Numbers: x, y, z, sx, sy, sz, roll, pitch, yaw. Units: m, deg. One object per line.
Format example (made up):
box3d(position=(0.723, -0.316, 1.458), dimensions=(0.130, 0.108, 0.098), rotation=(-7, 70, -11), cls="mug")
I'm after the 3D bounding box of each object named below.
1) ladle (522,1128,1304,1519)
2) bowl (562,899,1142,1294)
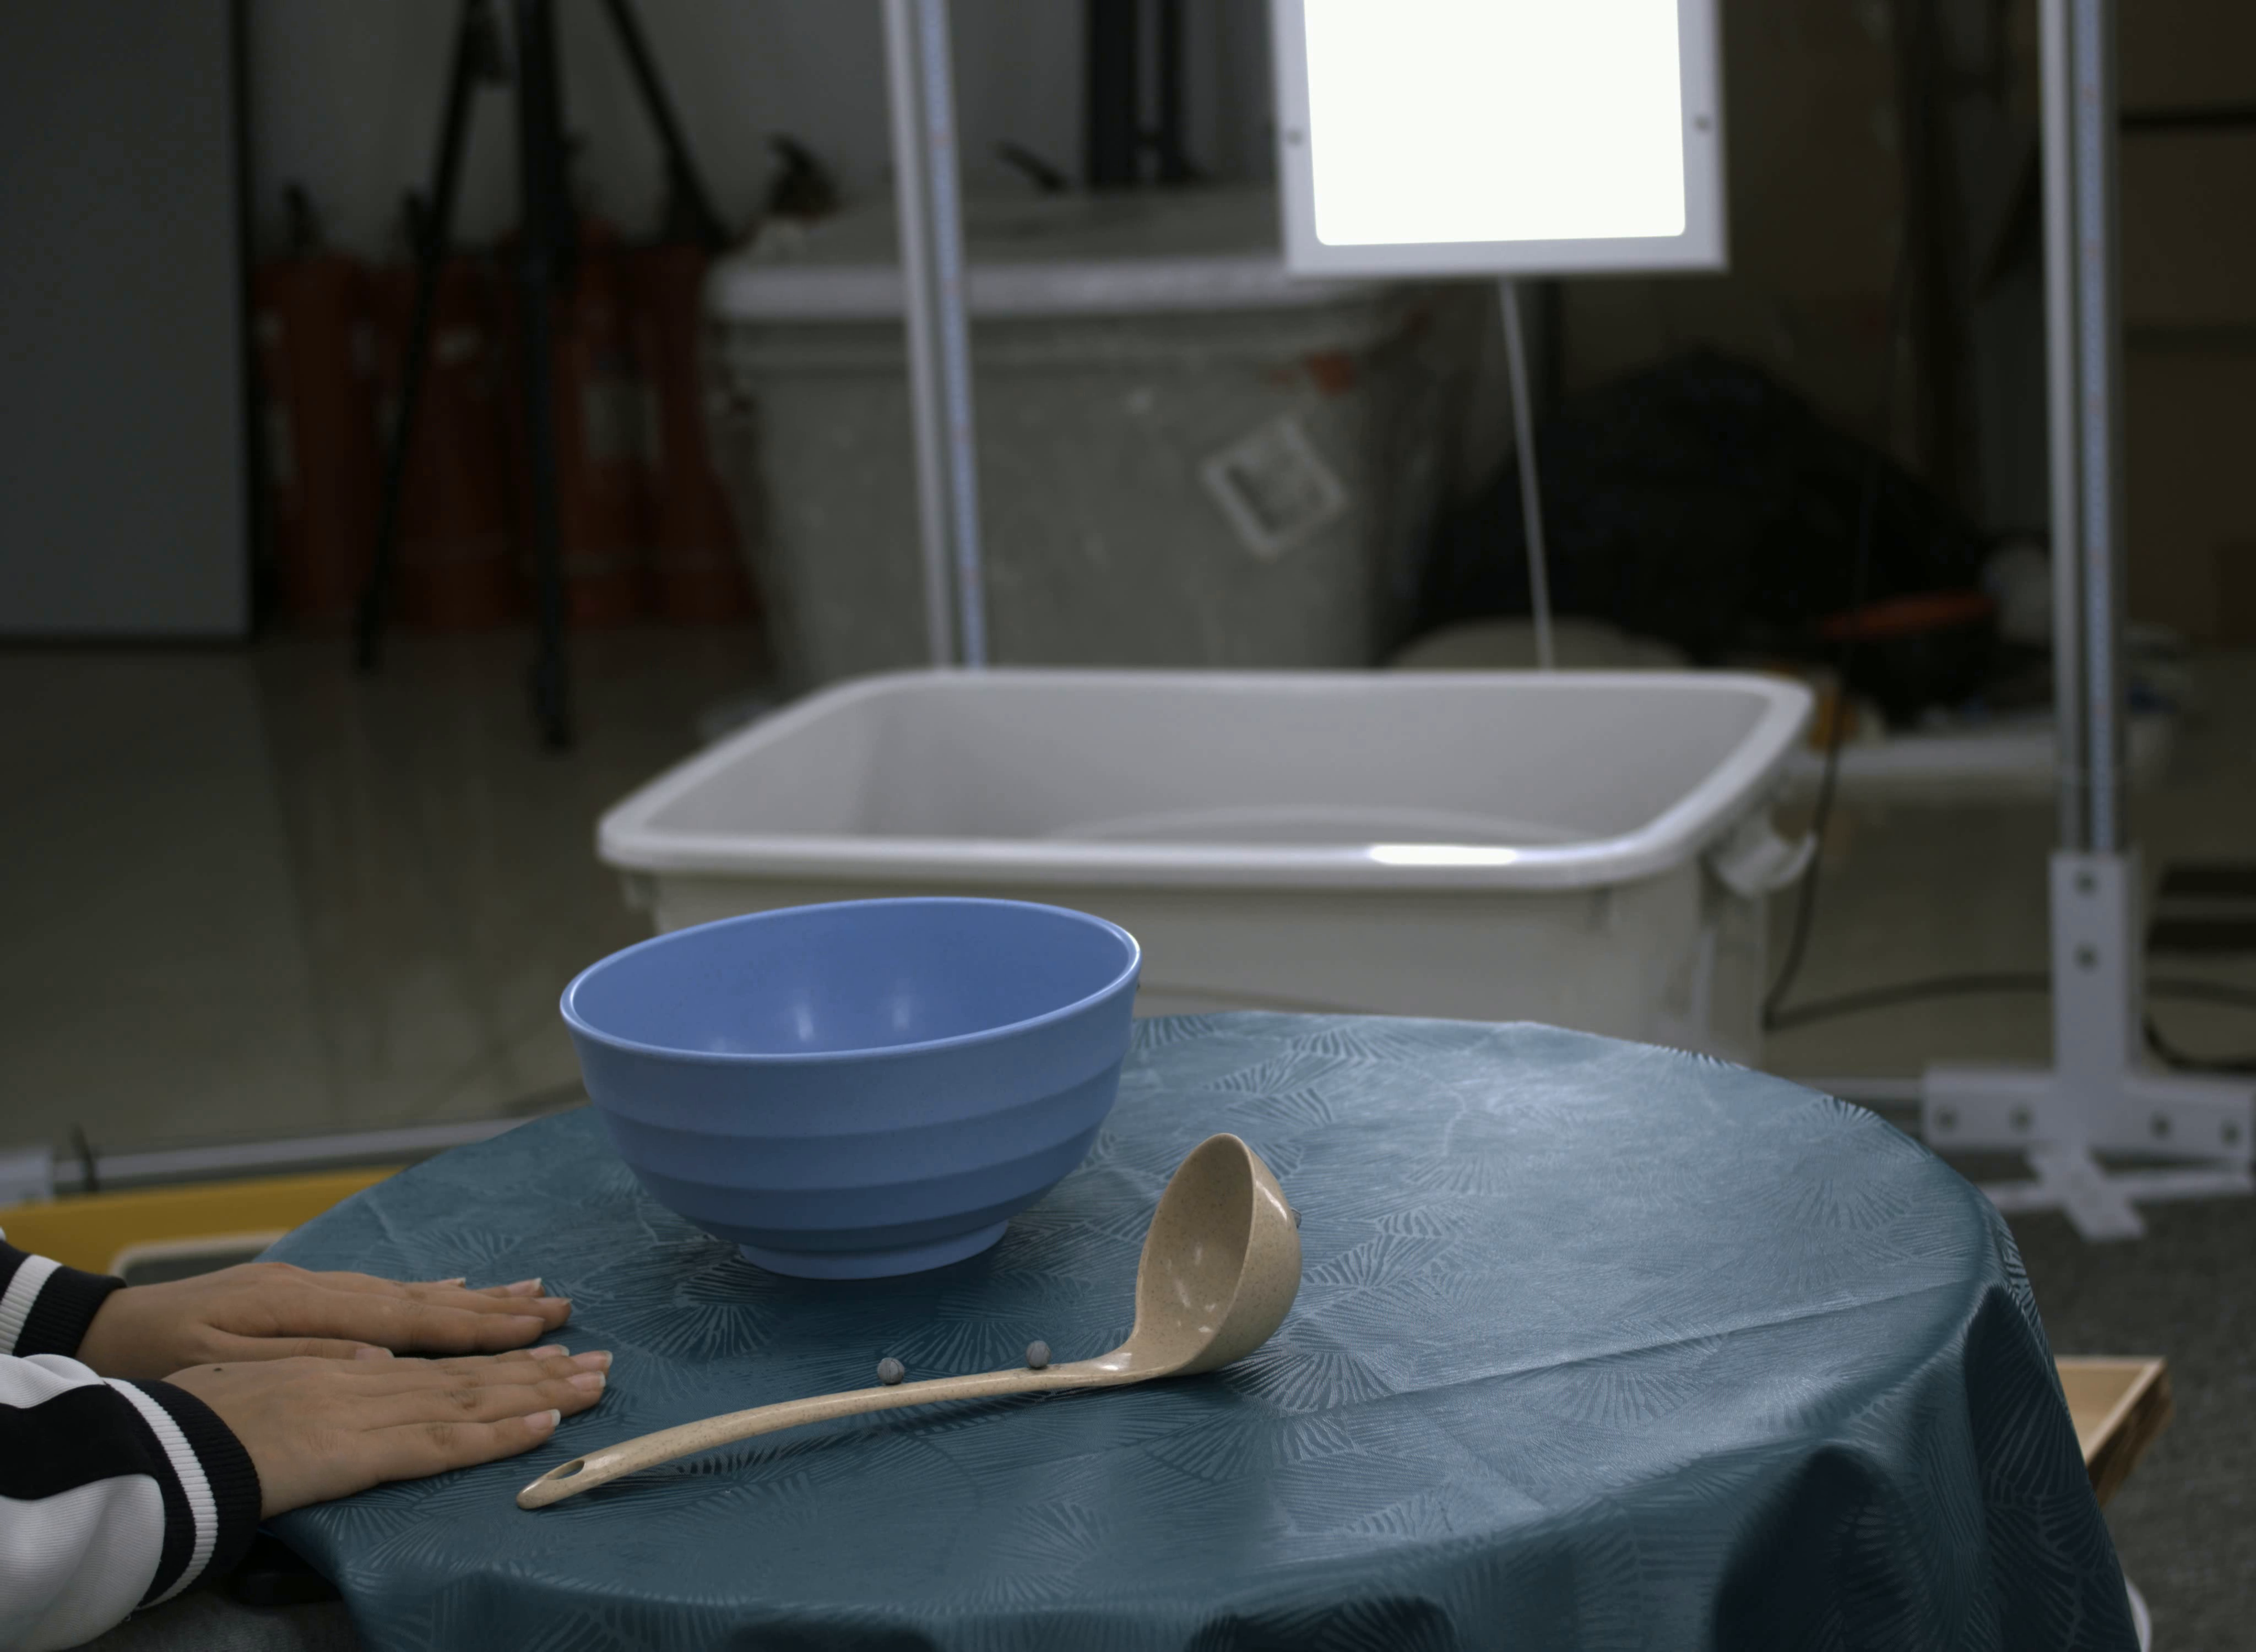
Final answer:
box3d(position=(-0.067, 0.149, 1.679), dimensions=(0.250, 0.073, 0.073), rotation=(-10, 15, -20), cls="ladle")
box3d(position=(-0.089, 0.098, 1.865), dimensions=(0.196, 0.096, 0.196), rotation=(-5, 16, 0), cls="bowl")
